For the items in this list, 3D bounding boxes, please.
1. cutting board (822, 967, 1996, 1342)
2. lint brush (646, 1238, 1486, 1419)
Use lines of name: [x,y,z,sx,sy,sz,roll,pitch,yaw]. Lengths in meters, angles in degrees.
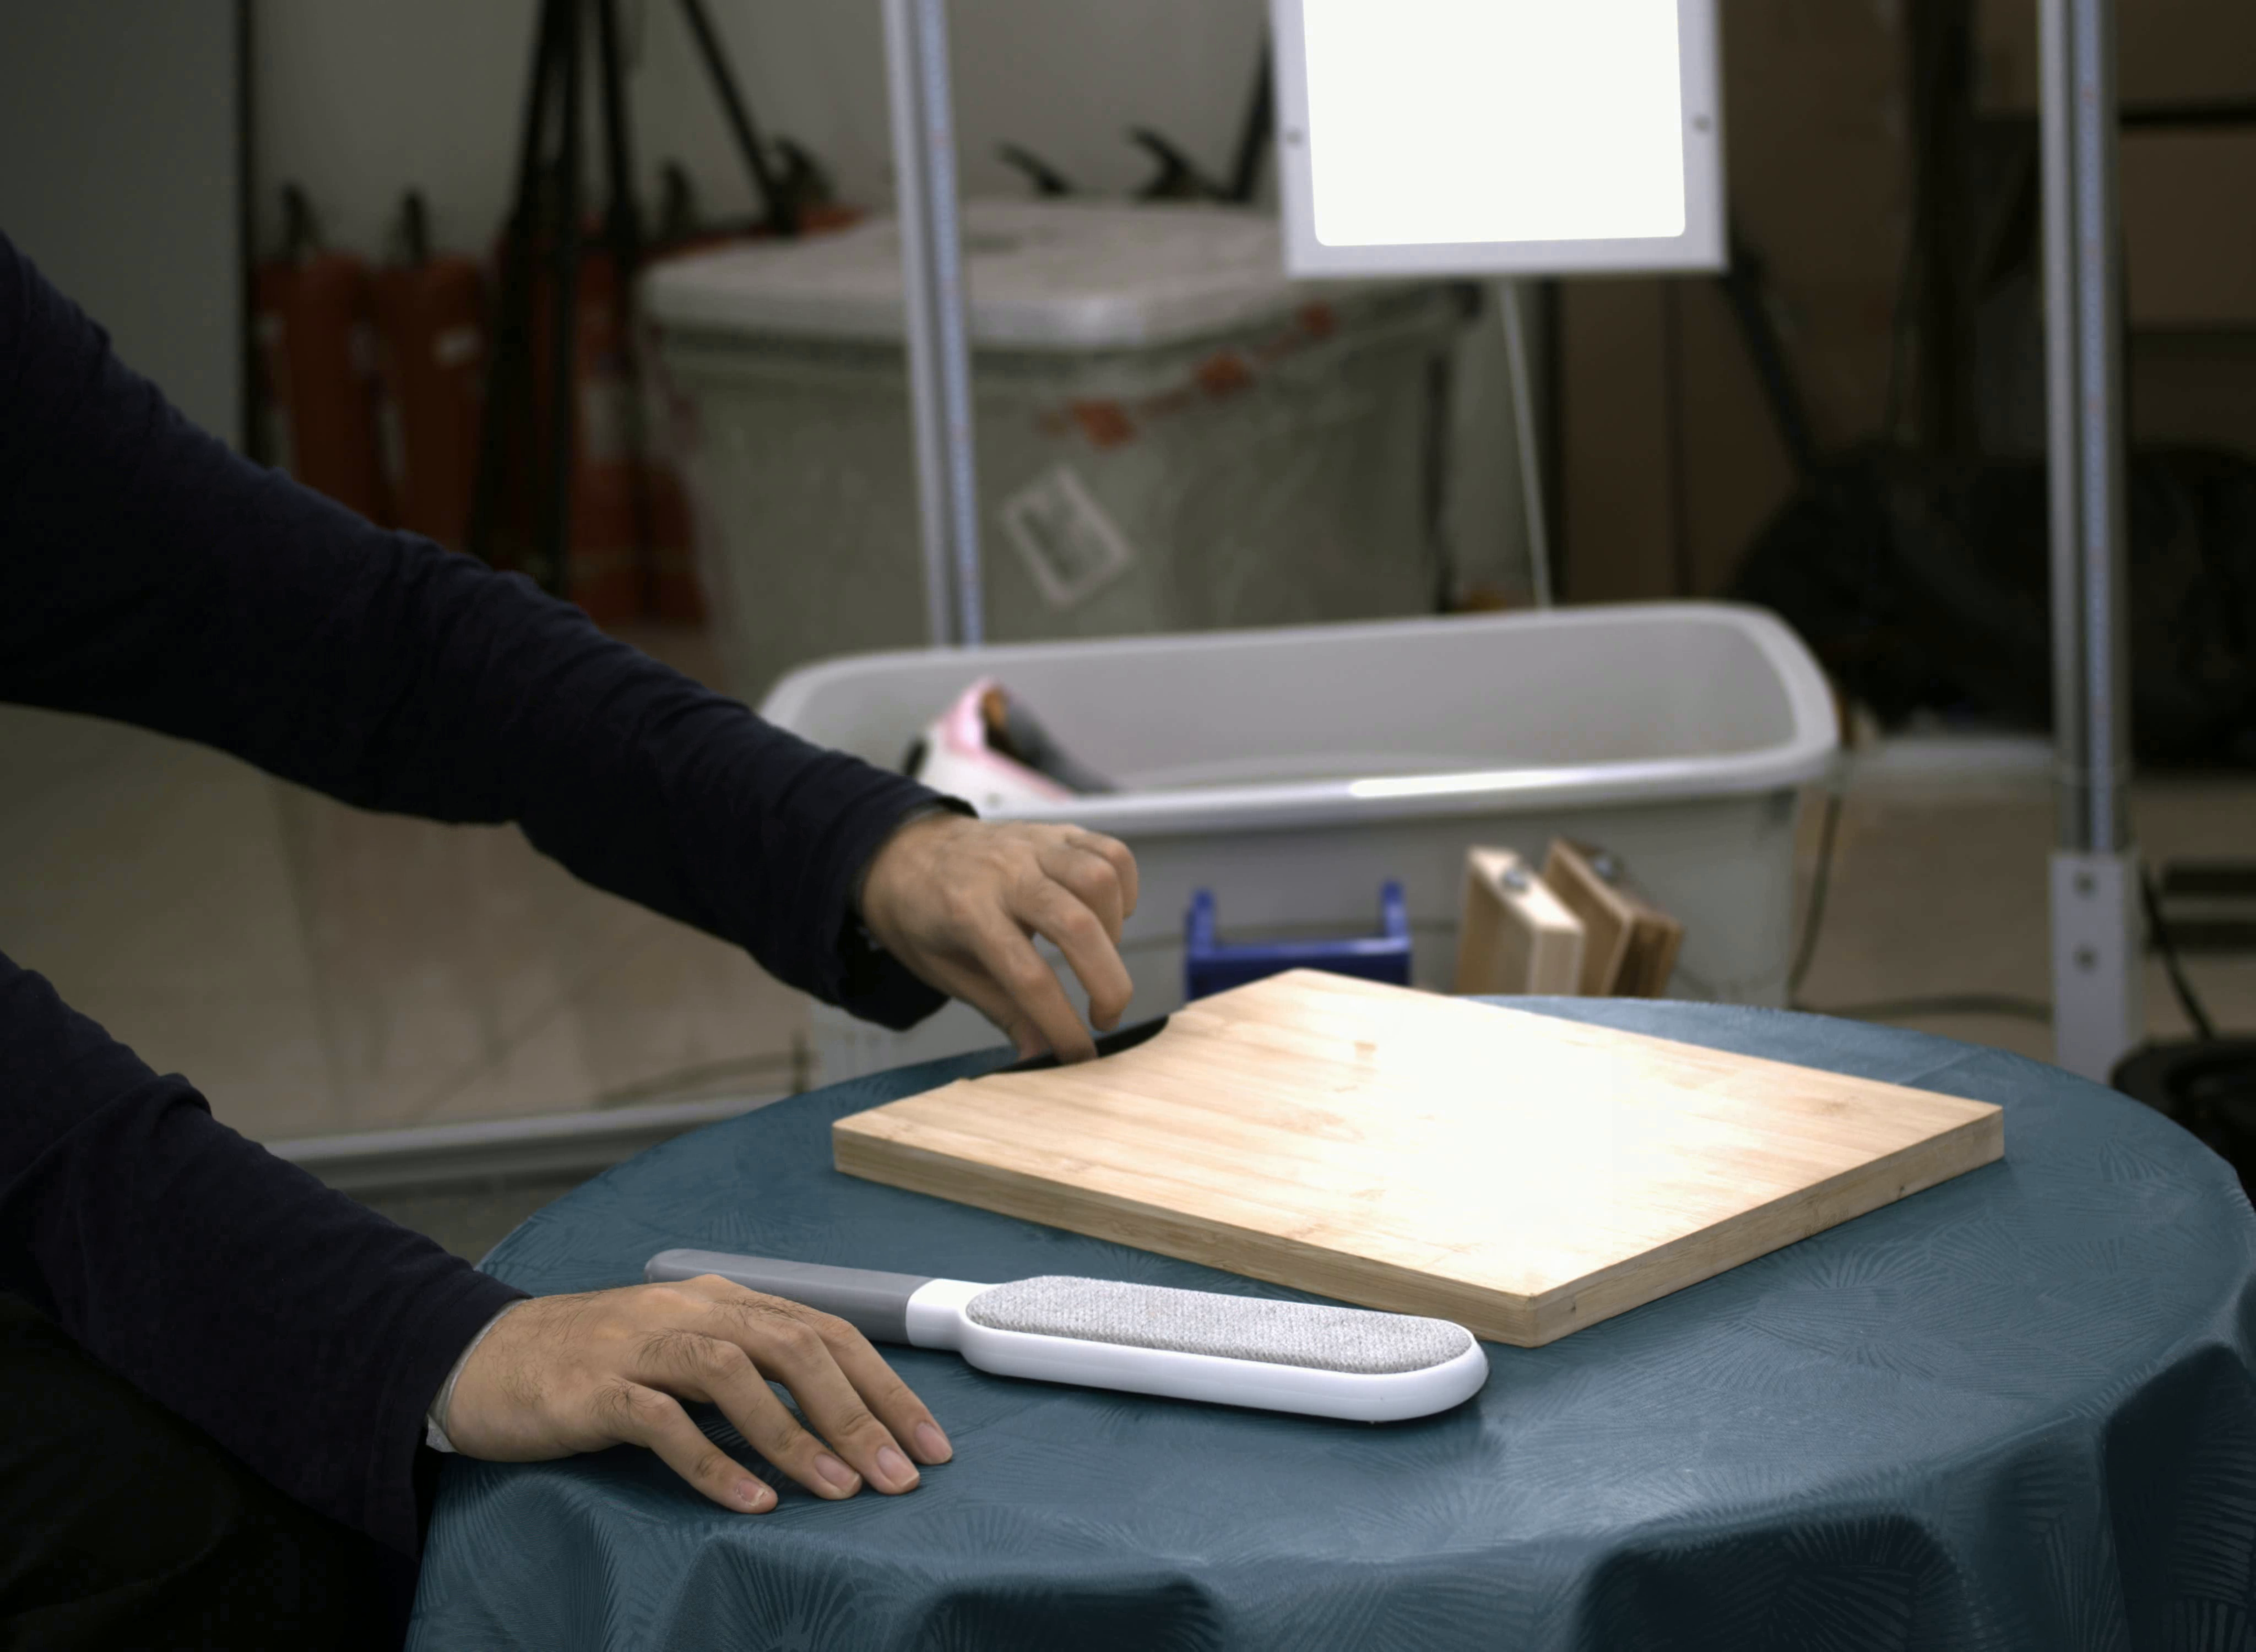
cutting board: [0.094,0.109,1.910,0.244,0.023,0.356,-16,17,-40]
lint brush: [-0.026,0.155,1.740,0.315,0.021,0.058,4,22,34]
